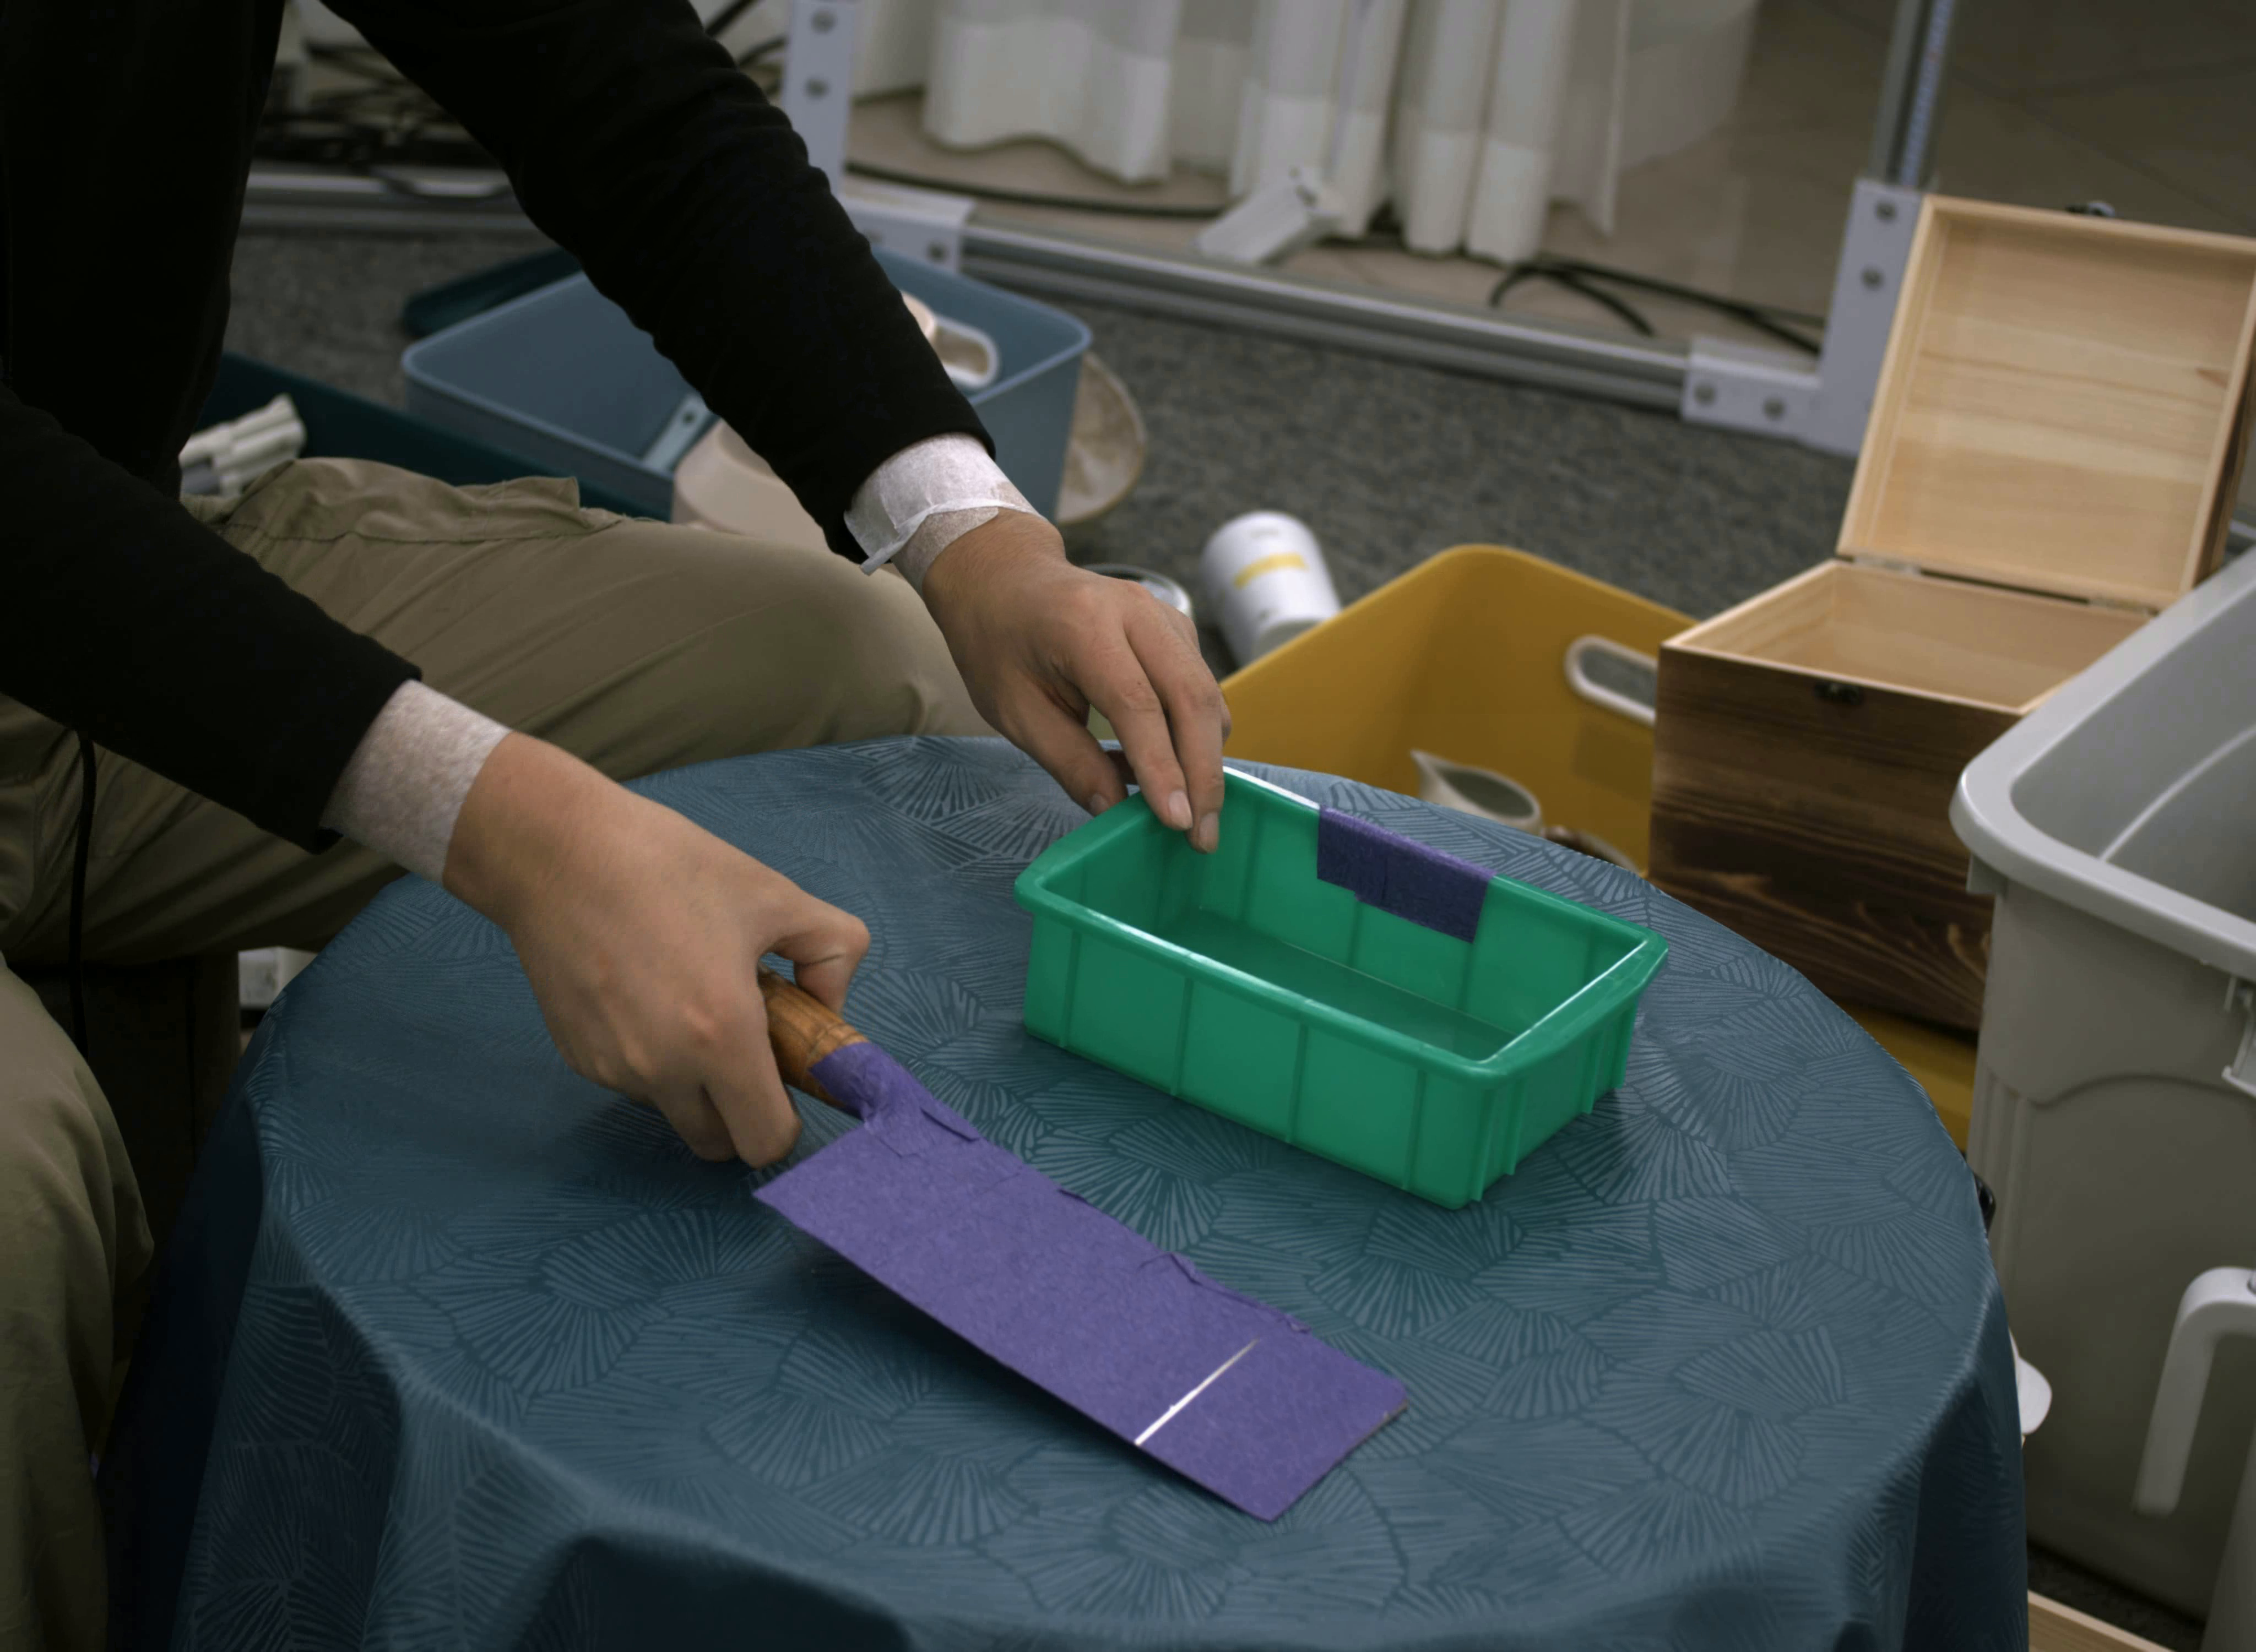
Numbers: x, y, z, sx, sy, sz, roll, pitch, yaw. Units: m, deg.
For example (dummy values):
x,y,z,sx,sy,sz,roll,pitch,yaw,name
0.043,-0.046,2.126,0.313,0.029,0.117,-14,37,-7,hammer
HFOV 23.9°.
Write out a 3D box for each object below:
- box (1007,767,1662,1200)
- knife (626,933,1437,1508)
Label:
x,y,z,sx,sy,sz,roll,pitch,yaw,name
0.070,0.056,1.882,0.211,0.065,0.138,19,28,27,box
-0.052,0.125,1.726,0.317,0.032,0.103,28,33,24,knife
